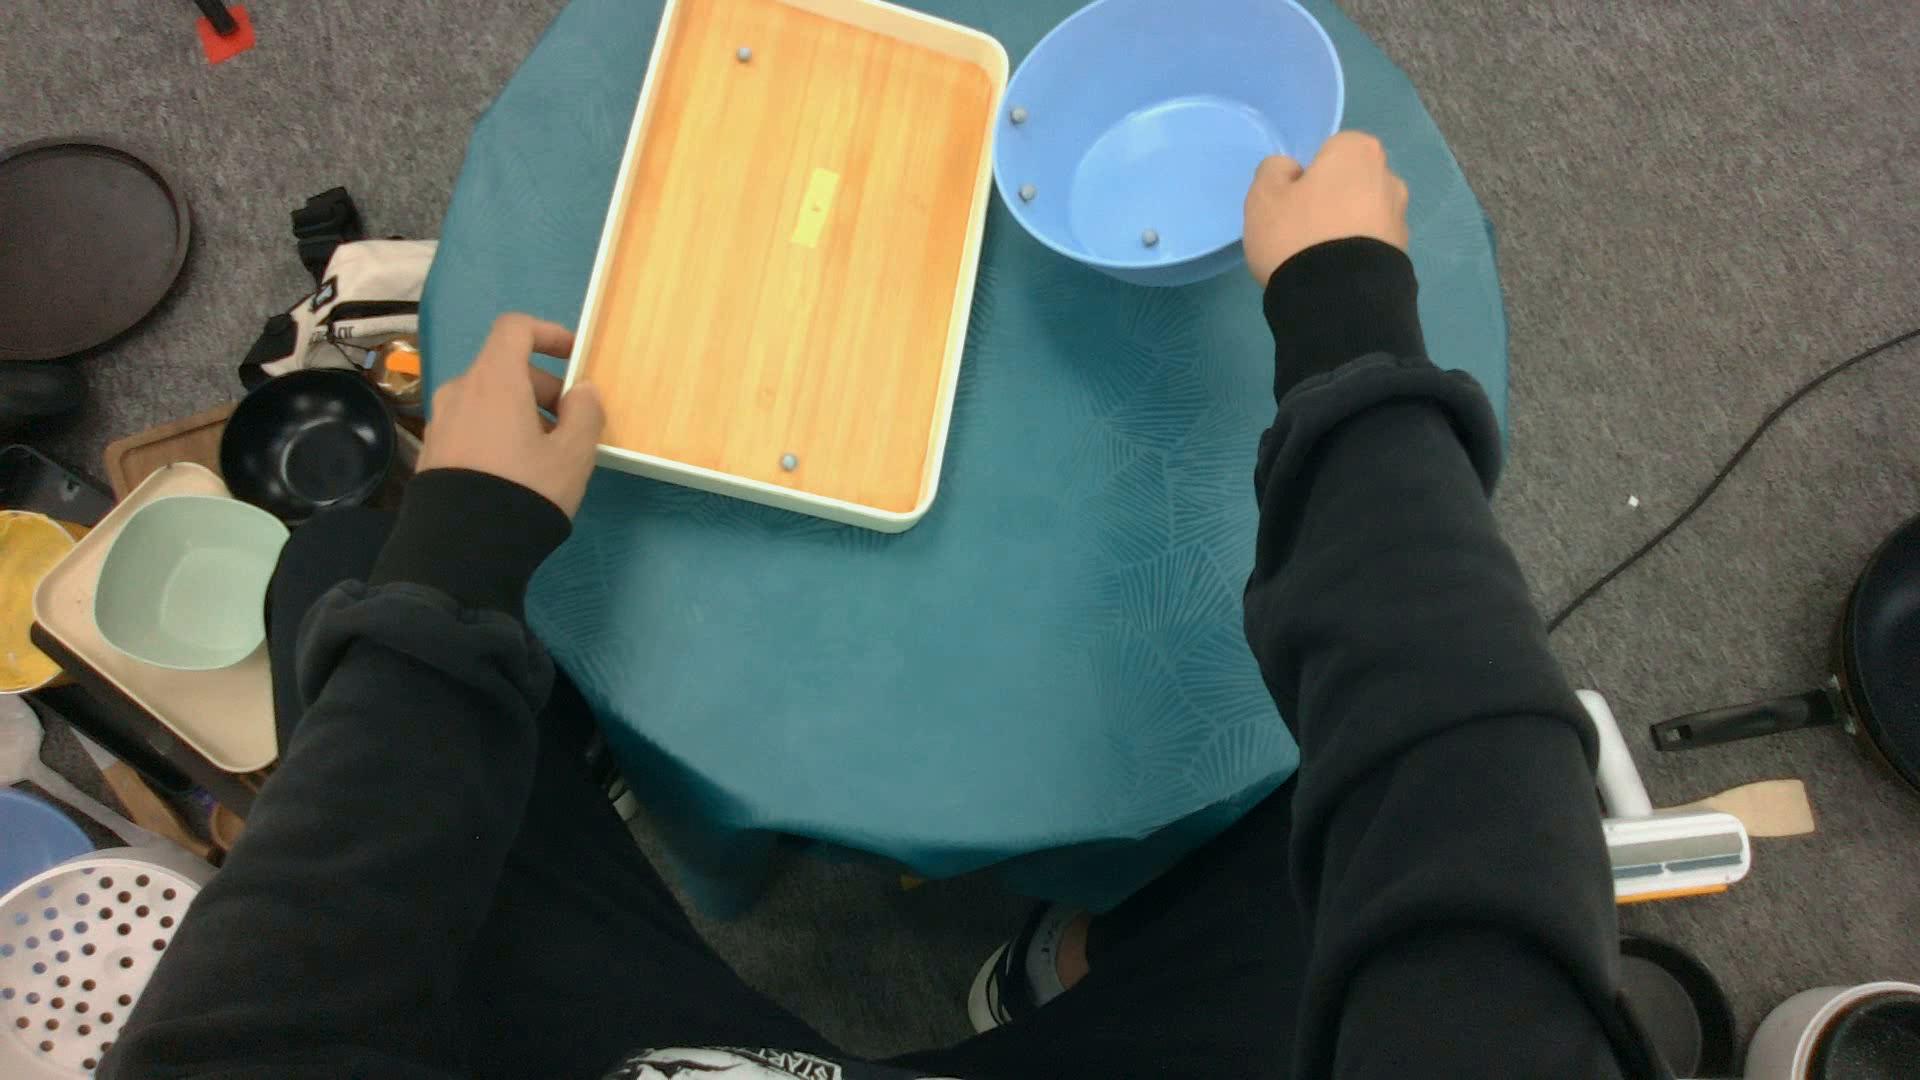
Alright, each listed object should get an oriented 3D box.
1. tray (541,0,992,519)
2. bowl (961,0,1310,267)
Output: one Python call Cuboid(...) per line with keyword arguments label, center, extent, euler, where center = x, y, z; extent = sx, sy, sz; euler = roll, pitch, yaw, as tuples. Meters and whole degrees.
Cuboid(label="tray", center=(-0.095, -0.169, 0.737), extent=(0.192, 0.027, 0.301), euler=(13, 70, -11))
Cuboid(label="bowl", center=(0.093, -0.209, 0.714), extent=(0.176, 0.070, 0.176), euler=(-7, 66, 15))
